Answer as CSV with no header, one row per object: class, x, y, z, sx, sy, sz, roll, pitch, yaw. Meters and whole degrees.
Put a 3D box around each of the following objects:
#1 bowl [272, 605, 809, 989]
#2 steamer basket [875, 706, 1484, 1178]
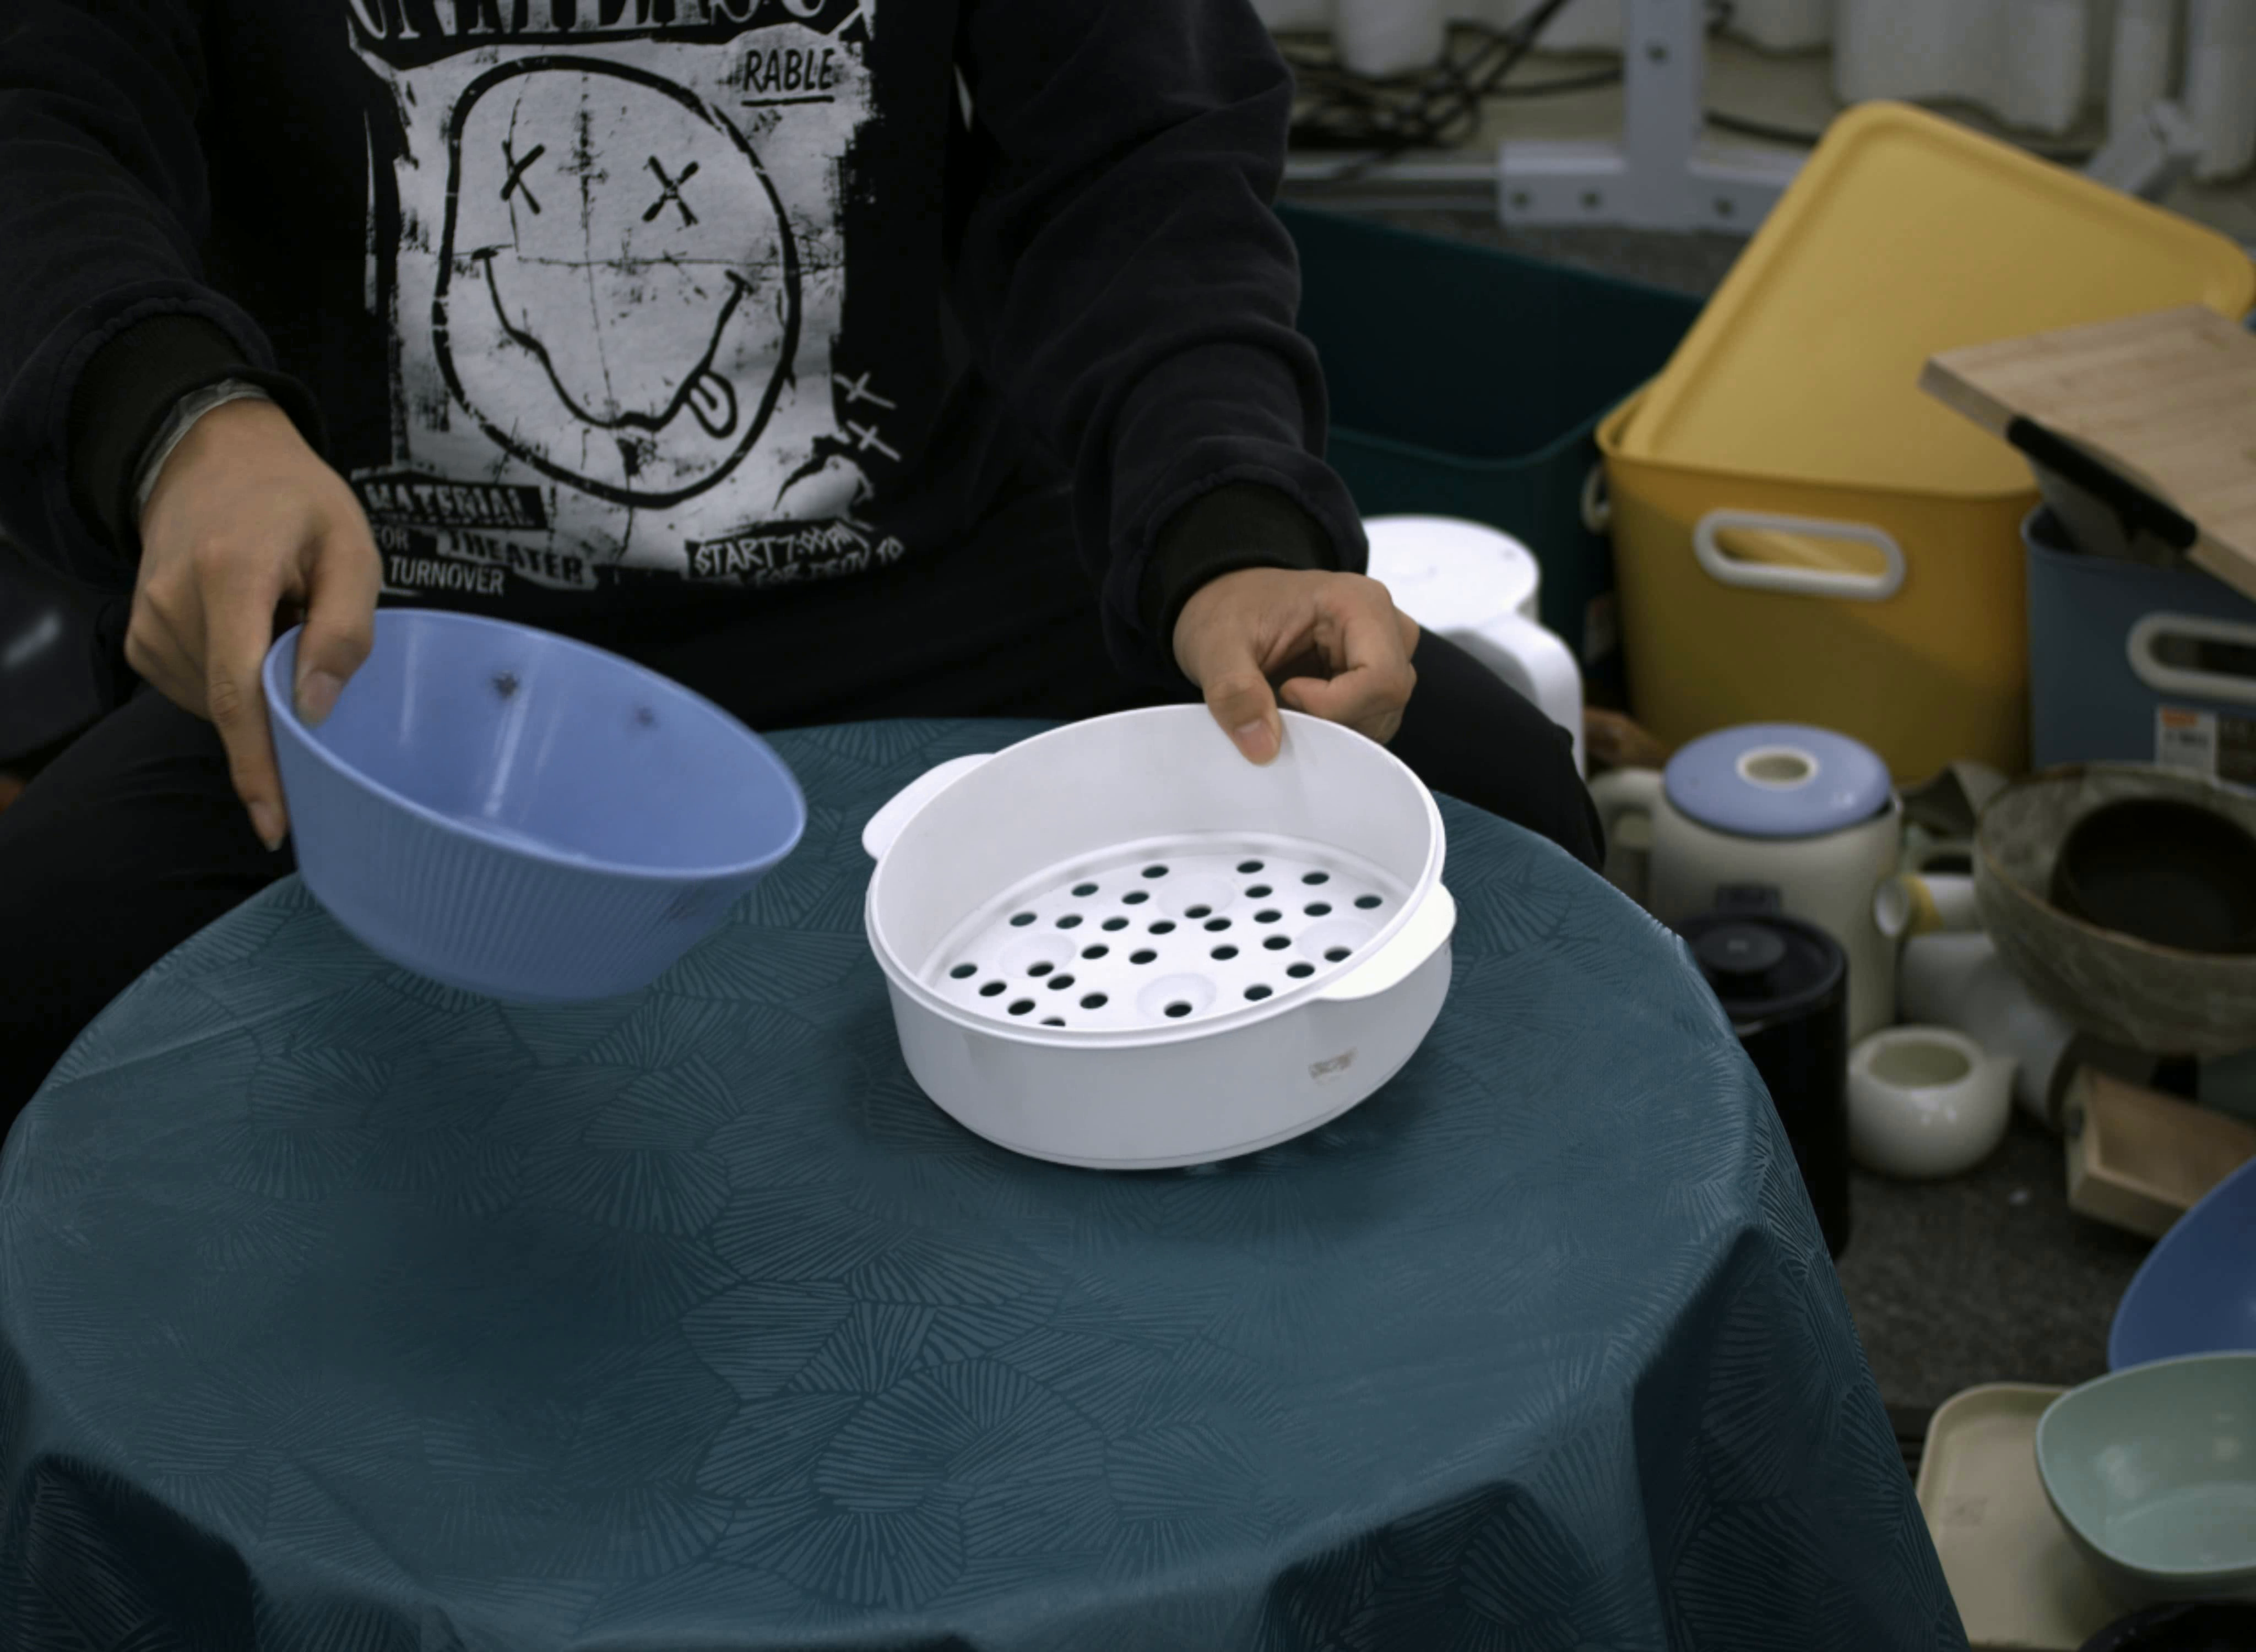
bowl,-0.193,-0.003,1.780,0.175,0.069,0.178,17,20,-6
steamer basket,0.018,0.040,1.926,0.229,0.068,0.205,17,41,33
